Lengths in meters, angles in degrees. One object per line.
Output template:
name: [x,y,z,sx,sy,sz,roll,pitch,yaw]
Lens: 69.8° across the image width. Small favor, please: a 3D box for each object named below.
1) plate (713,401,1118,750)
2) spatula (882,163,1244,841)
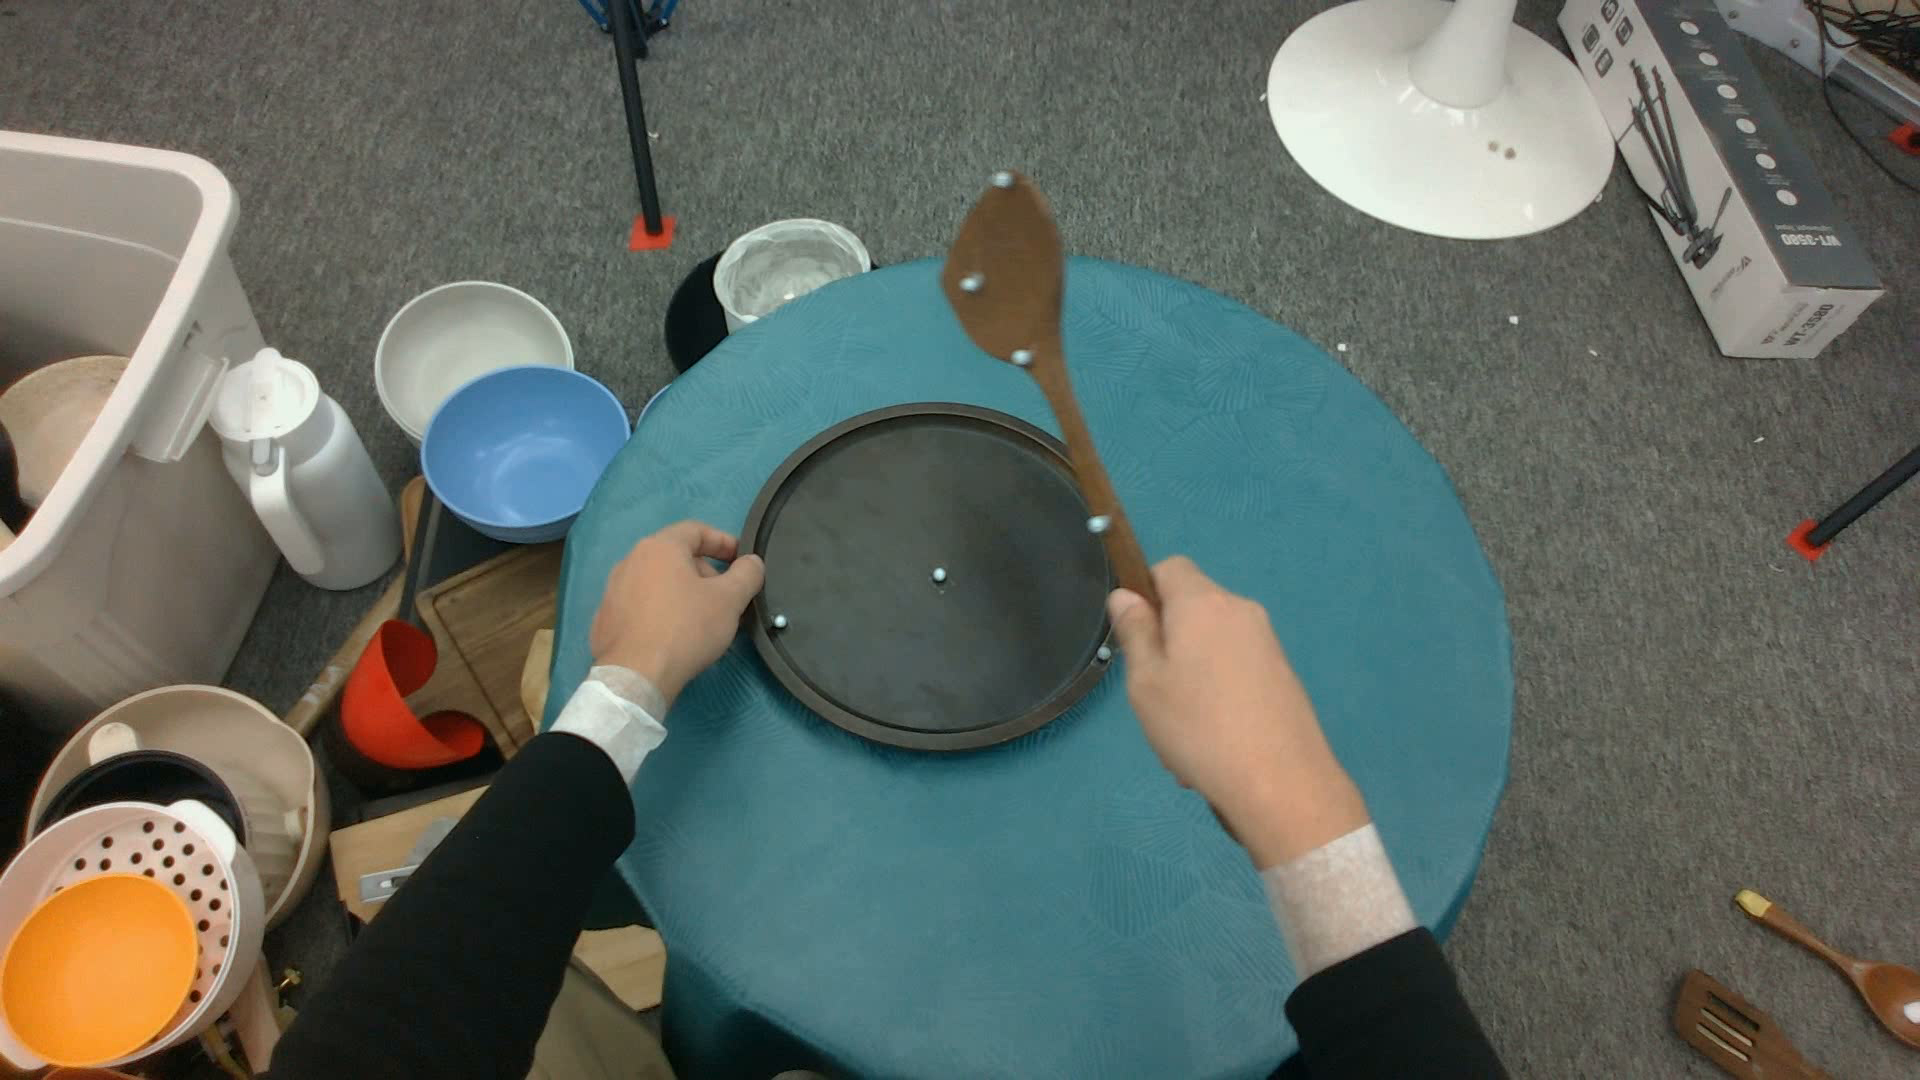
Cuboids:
plate: [-0.027,0.017,0.868,0.255,0.029,0.256,3,57,-5]
spatula: [0.047,-0.027,0.689,0.016,0.095,0.387,-5,60,-36]
